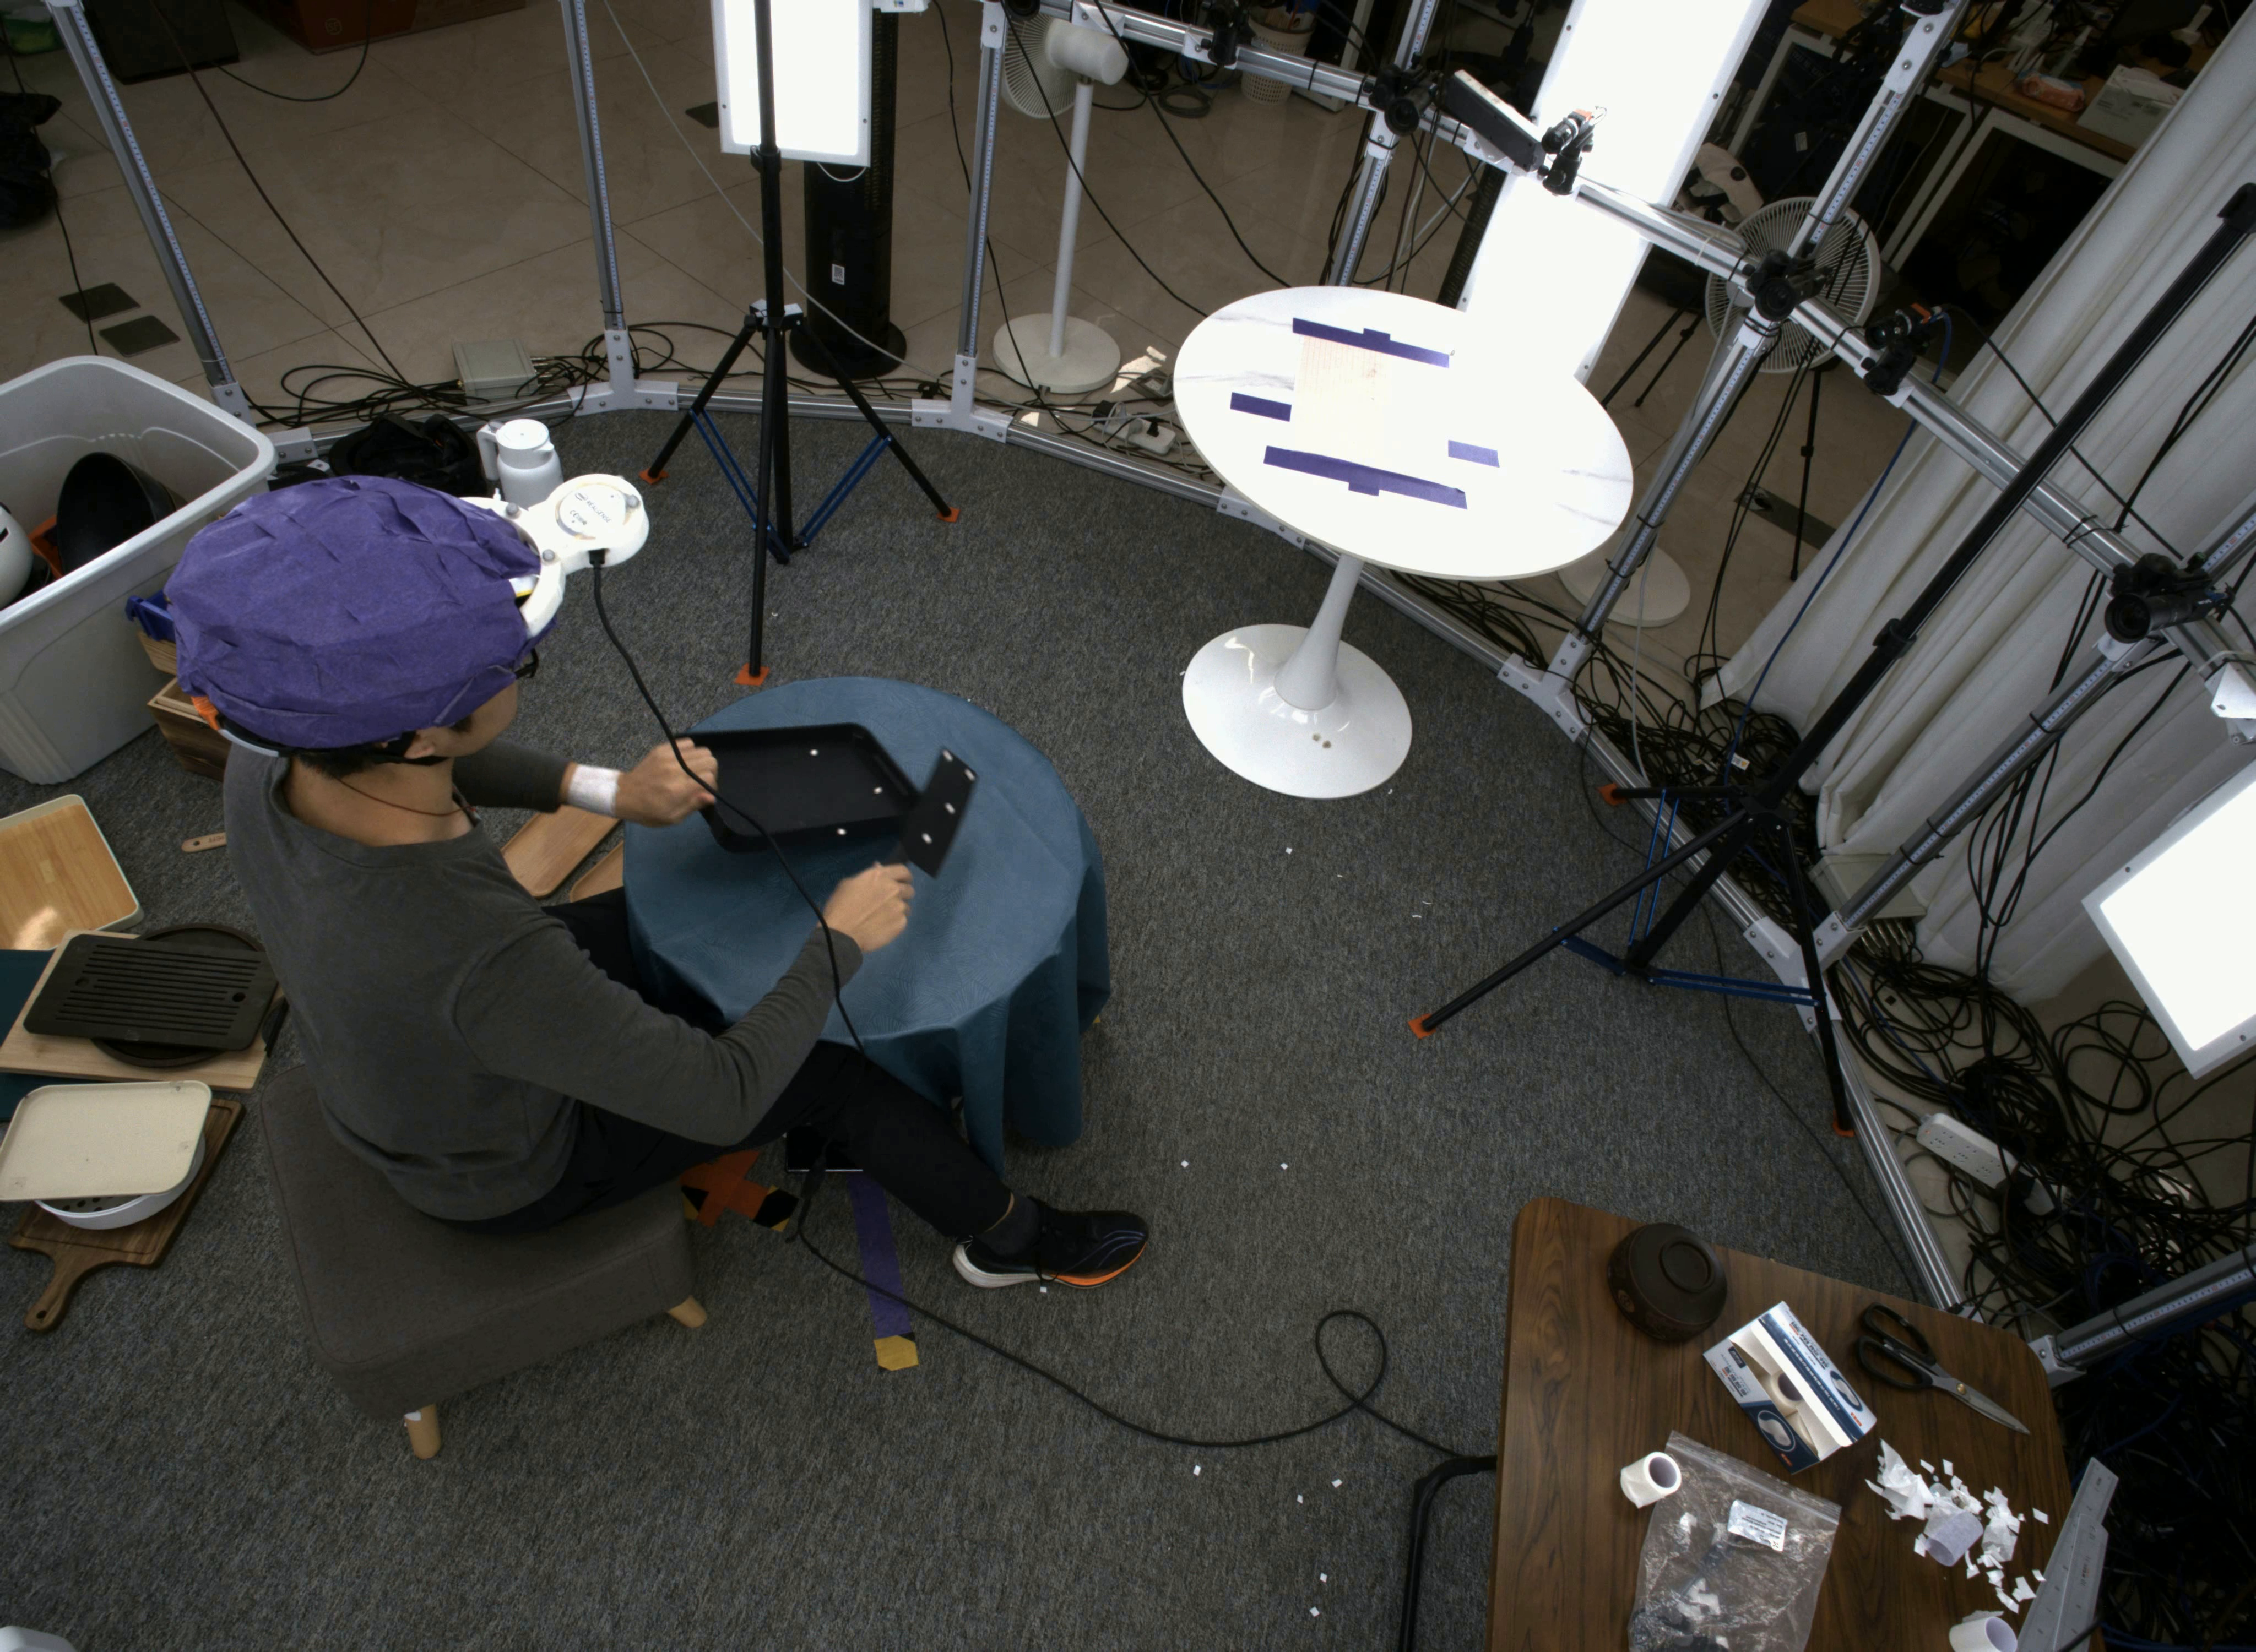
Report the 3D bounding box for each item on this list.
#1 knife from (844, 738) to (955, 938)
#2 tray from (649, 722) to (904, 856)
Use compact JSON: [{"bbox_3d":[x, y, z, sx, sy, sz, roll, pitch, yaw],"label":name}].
[{"bbox_3d":[-0.280,0.013,1.604,0.083,0.020,0.299,44,44,-26],"label":"knife"},{"bbox_3d":[-0.441,-0.054,1.662,0.180,0.037,0.323,48,30,20],"label":"tray"}]
